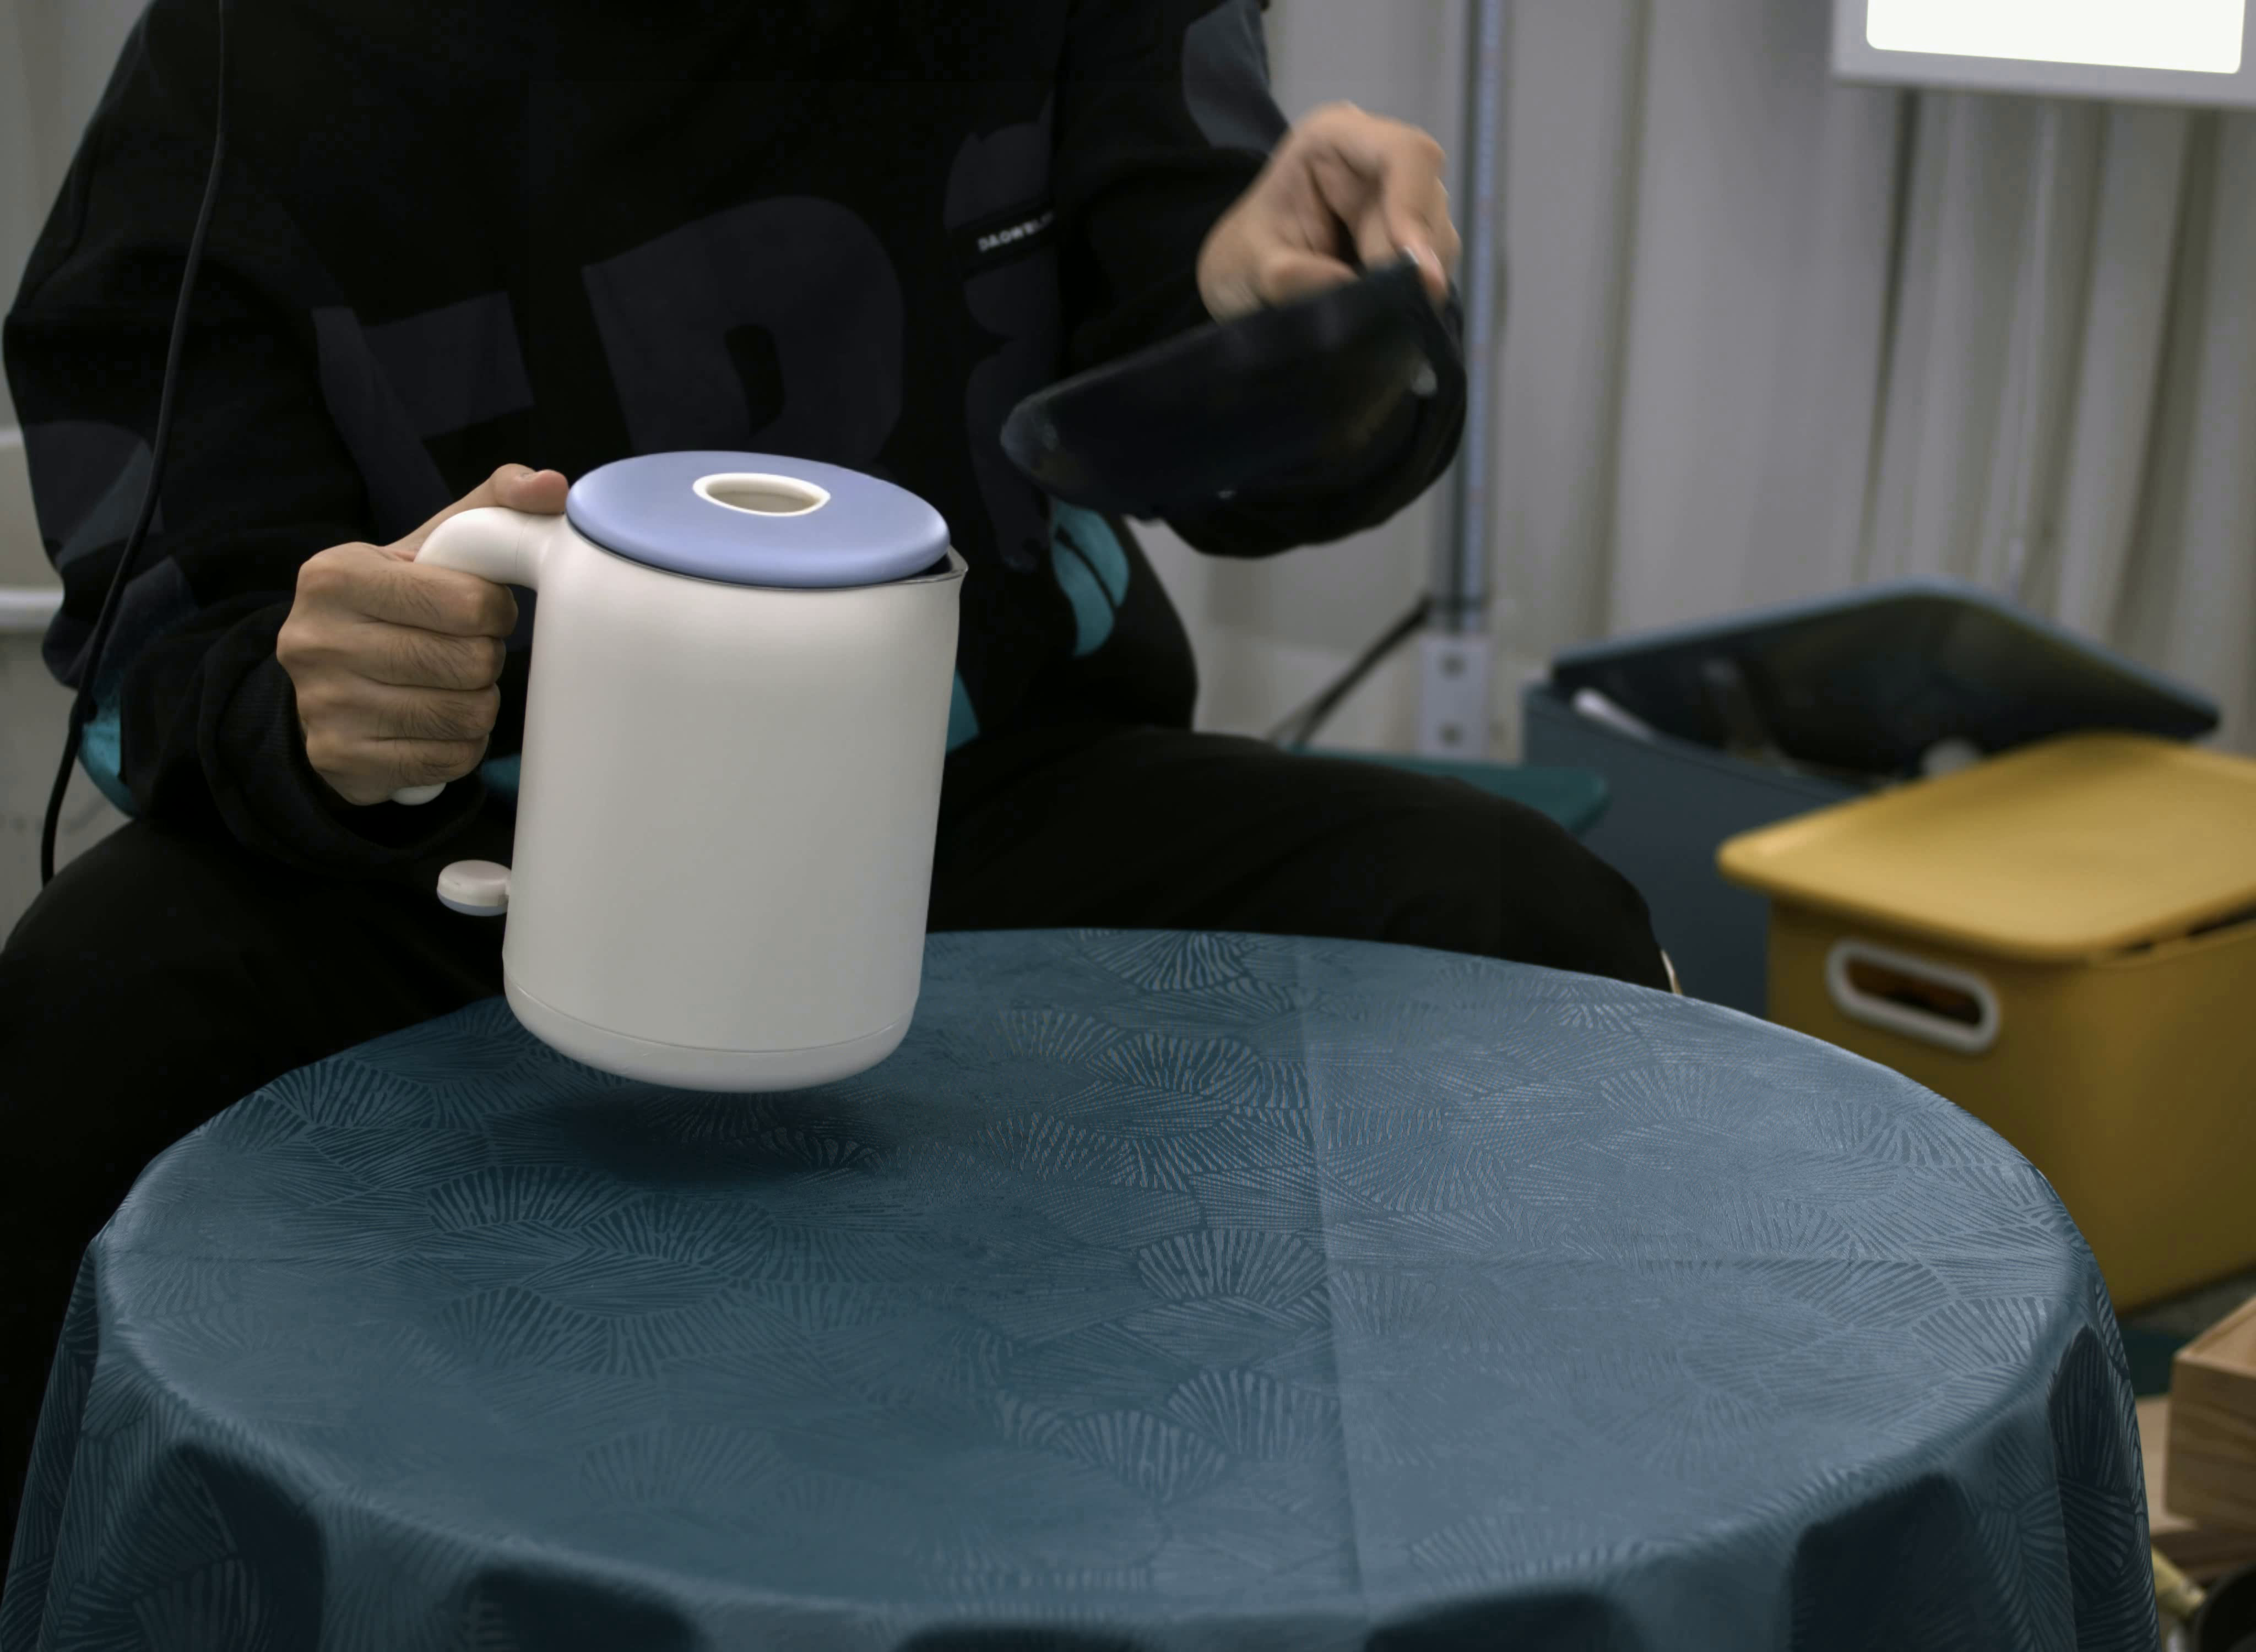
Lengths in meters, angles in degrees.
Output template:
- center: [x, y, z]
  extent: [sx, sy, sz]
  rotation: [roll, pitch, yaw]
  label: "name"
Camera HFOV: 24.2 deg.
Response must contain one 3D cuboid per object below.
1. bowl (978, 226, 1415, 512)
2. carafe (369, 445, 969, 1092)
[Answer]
- center: [0.028, -0.130, 1.571]
  extent: [0.139, 0.050, 0.140]
  rotation: [-23, 3, 2]
  label: "bowl"
- center: [-0.146, -0.023, 1.635]
  extent: [0.189, 0.184, 0.132]
  rotation: [10, 19, 14]
  label: "carafe"
